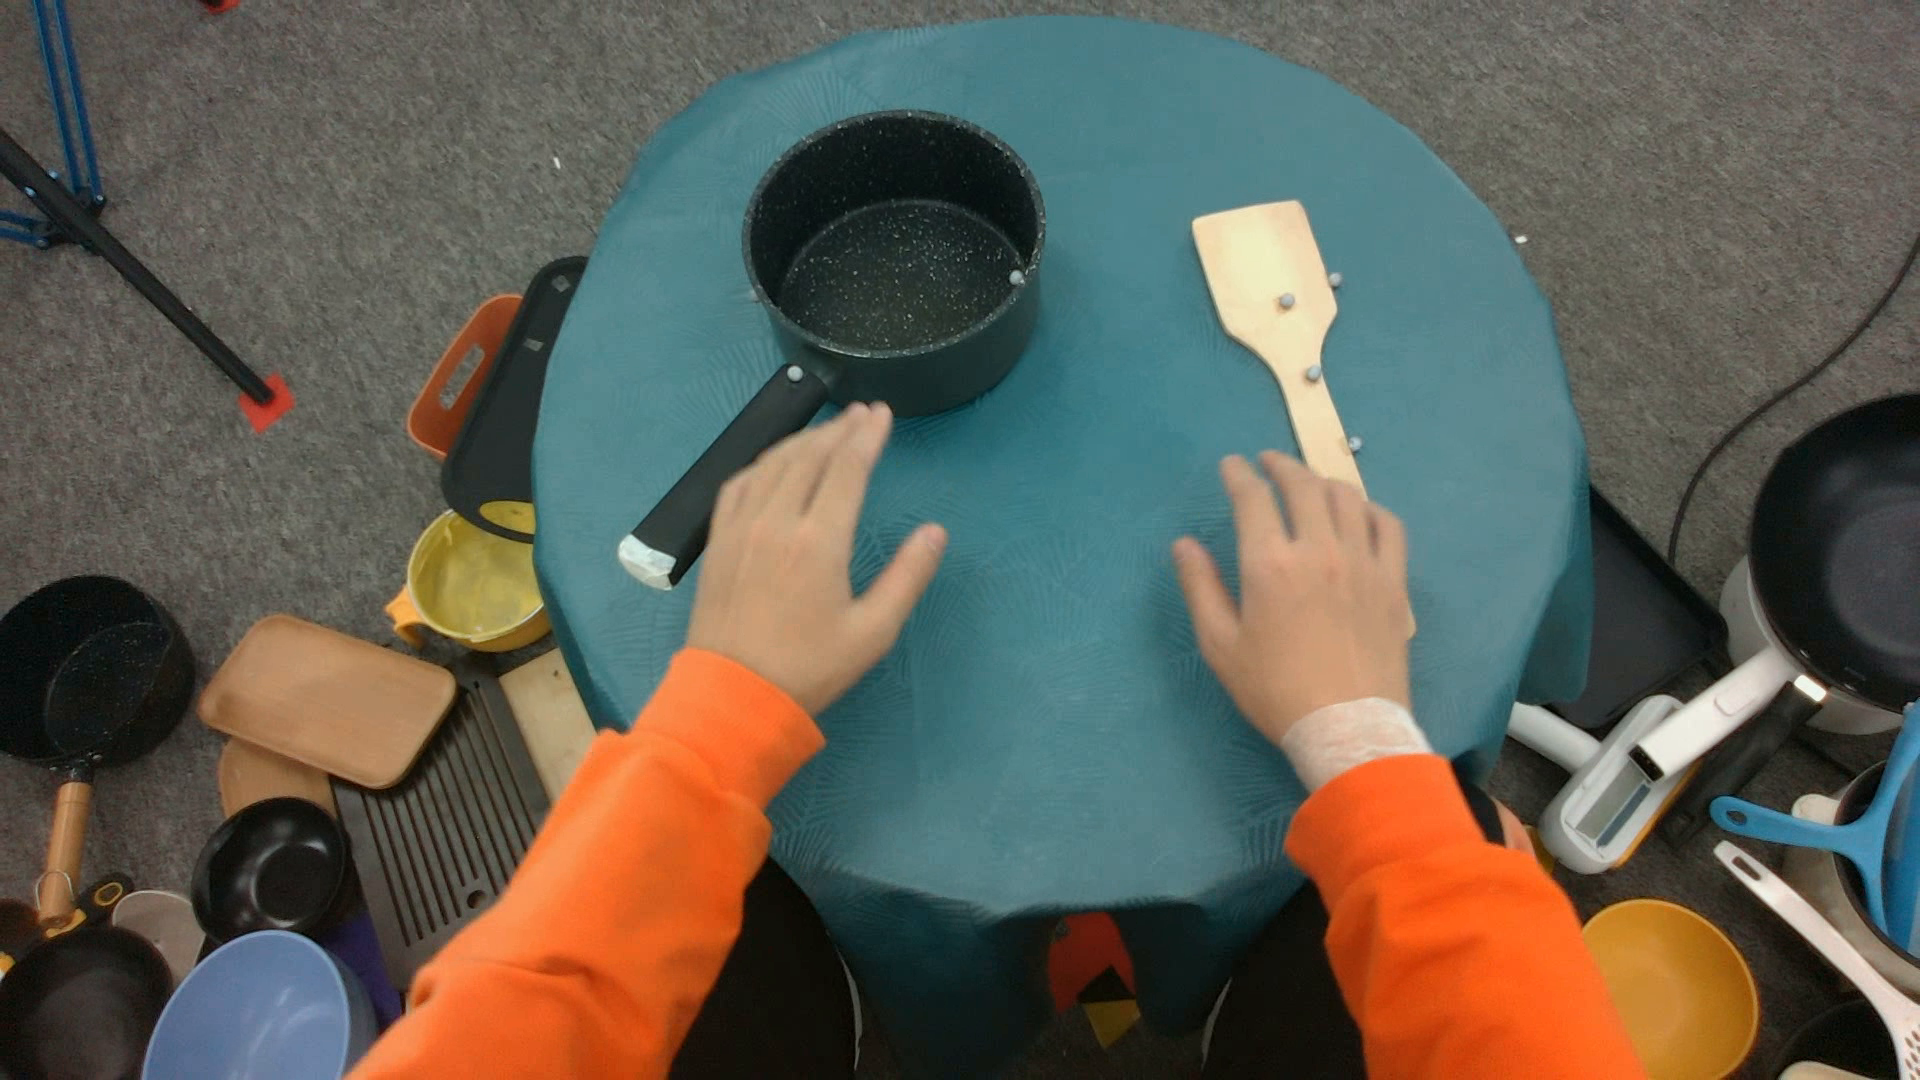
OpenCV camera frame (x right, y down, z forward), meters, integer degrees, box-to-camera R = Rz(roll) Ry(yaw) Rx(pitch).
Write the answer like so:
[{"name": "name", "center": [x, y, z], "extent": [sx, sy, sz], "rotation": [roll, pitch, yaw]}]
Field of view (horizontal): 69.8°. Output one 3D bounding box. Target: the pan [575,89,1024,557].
[{"name": "pan", "center": [-0.090, -0.110, 0.769], "extent": [0.172, 0.086, 0.330], "rotation": [28, 67, 16]}]

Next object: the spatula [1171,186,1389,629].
[{"name": "spatula", "center": [0.189, -0.084, 0.784], "extent": [0.072, 0.010, 0.294], "rotation": [-9, 64, -5]}]
